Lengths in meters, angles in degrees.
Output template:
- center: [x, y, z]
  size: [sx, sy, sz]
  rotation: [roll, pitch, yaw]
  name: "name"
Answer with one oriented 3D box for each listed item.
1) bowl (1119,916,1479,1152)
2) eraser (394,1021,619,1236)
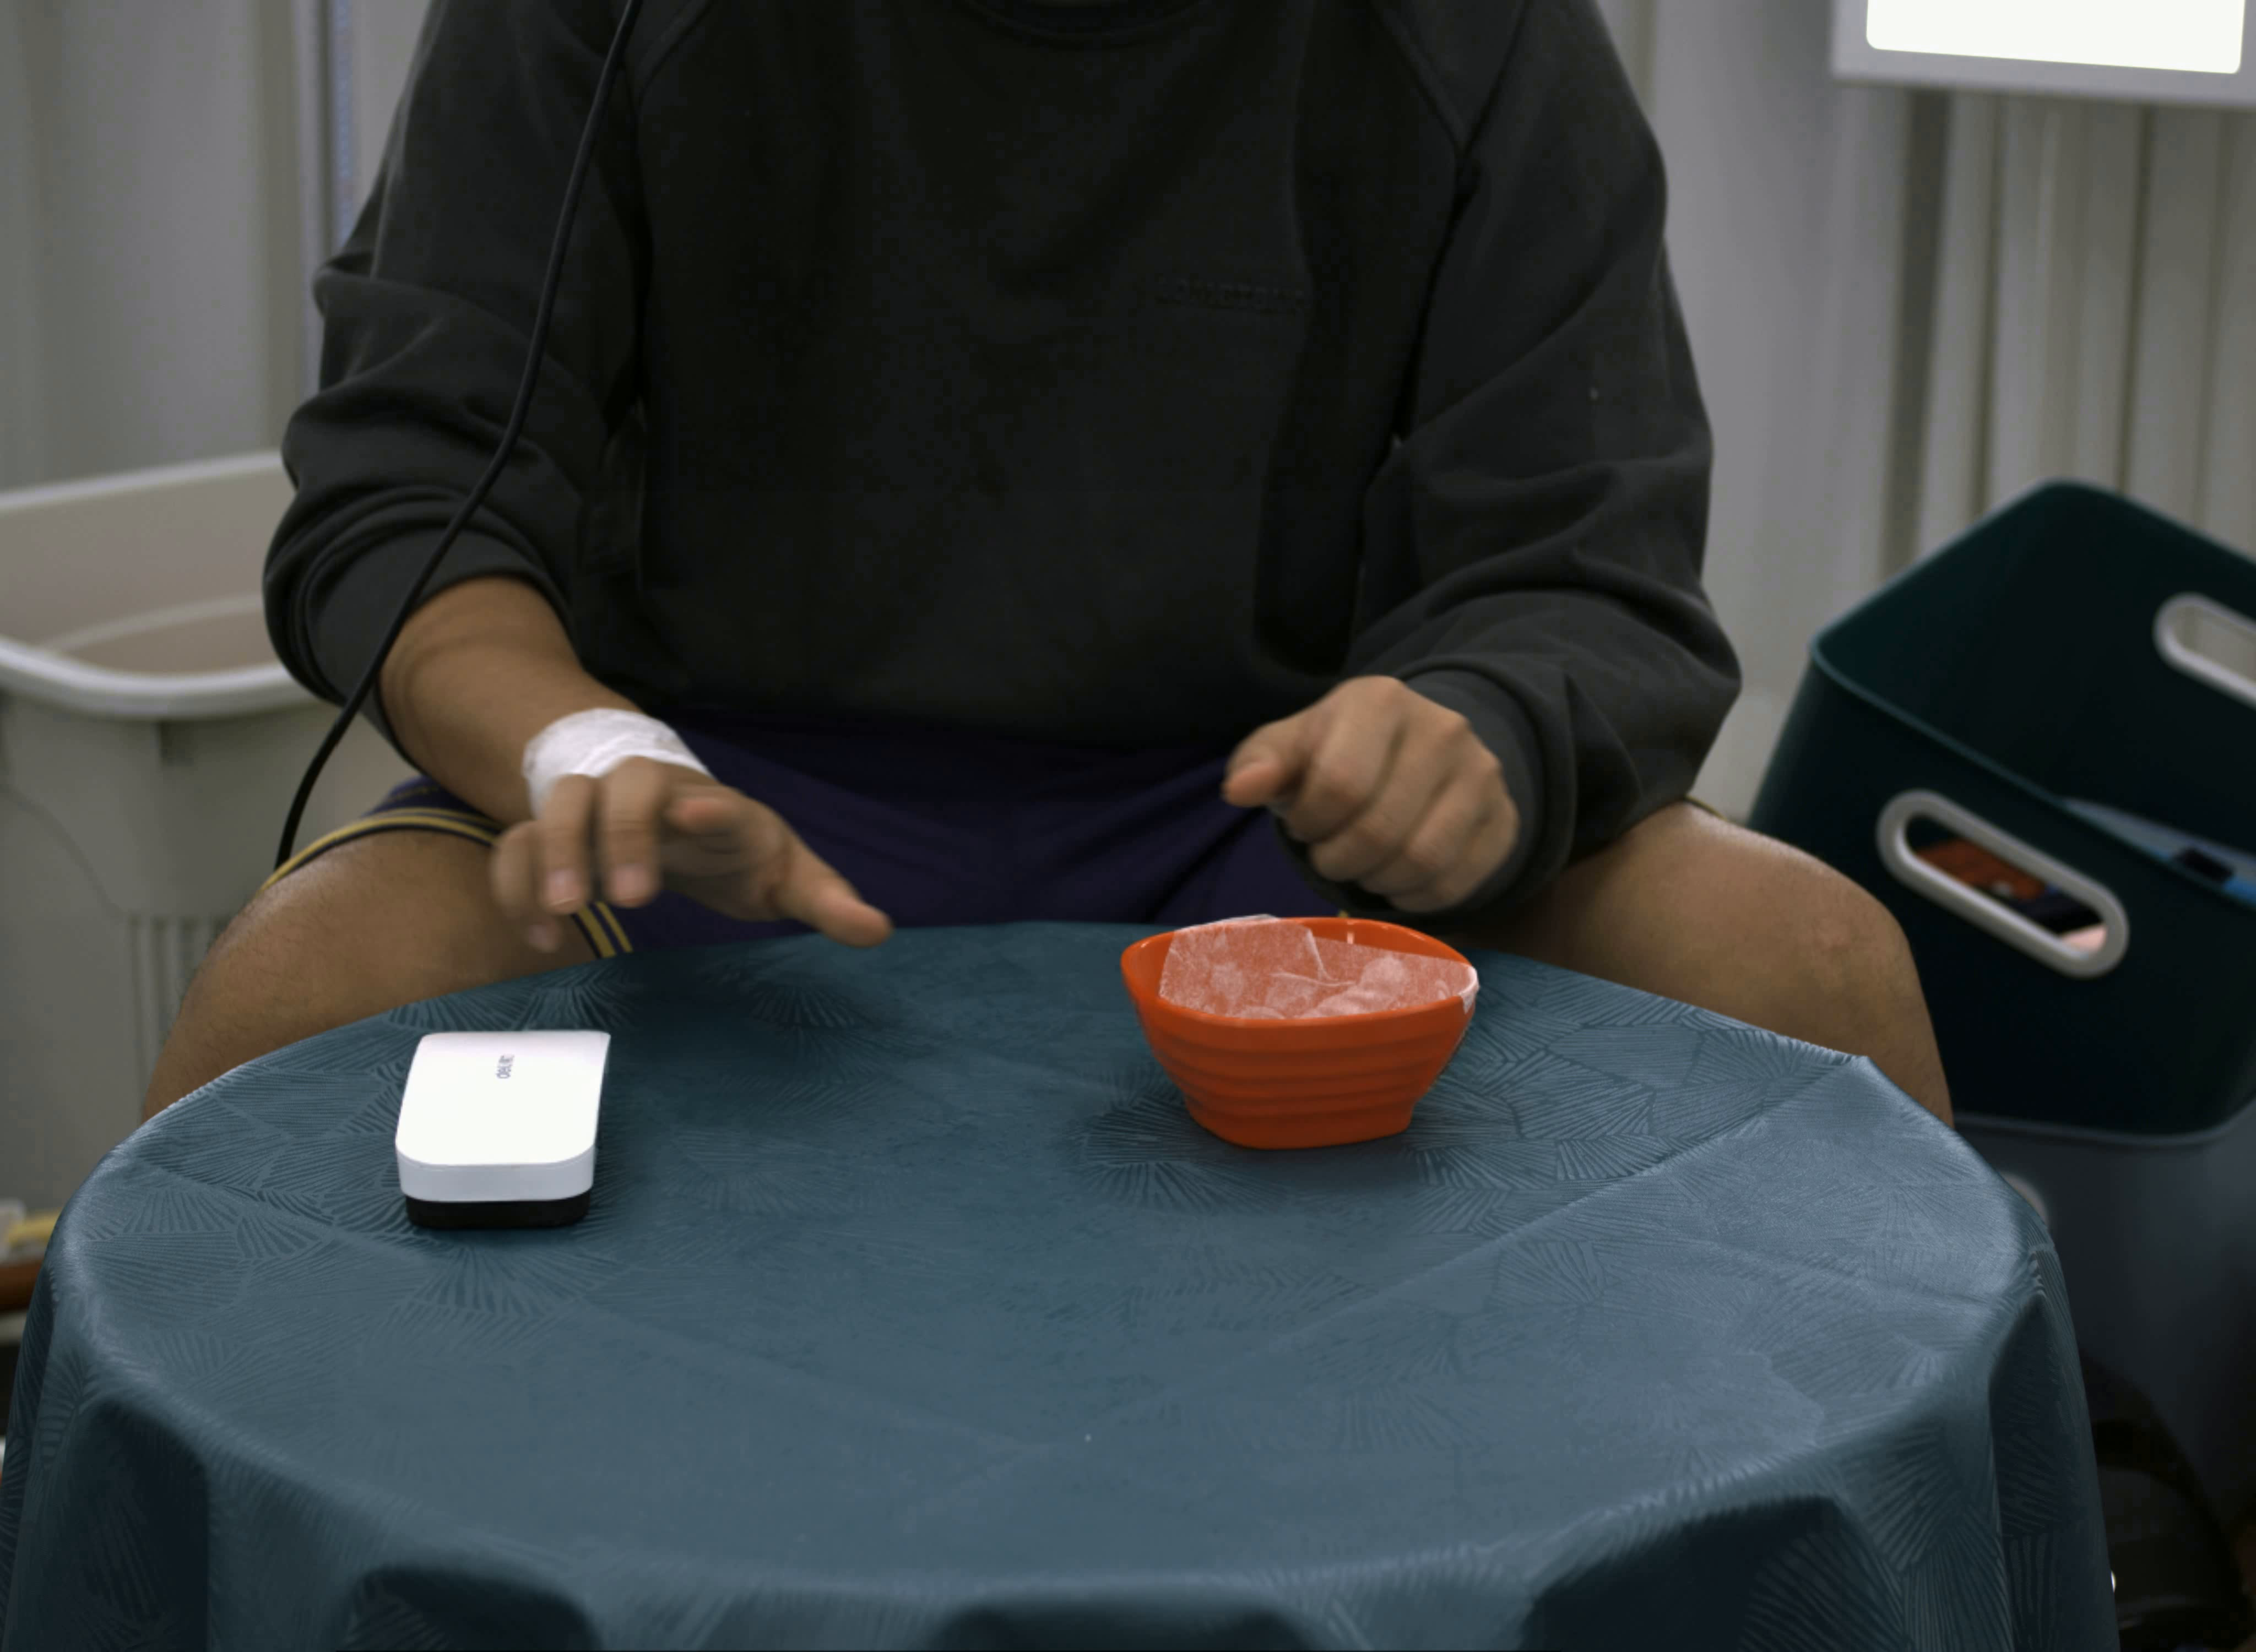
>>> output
- center: [0.054, 0.069, 1.687]
  size: [0.118, 0.052, 0.118]
  rotation: [0, 16, 1]
  name: "bowl"
- center: [-0.191, 0.089, 1.637]
  size: [0.063, 0.035, 0.130]
  rotation: [1, 17, -1]
  name: "eraser"
